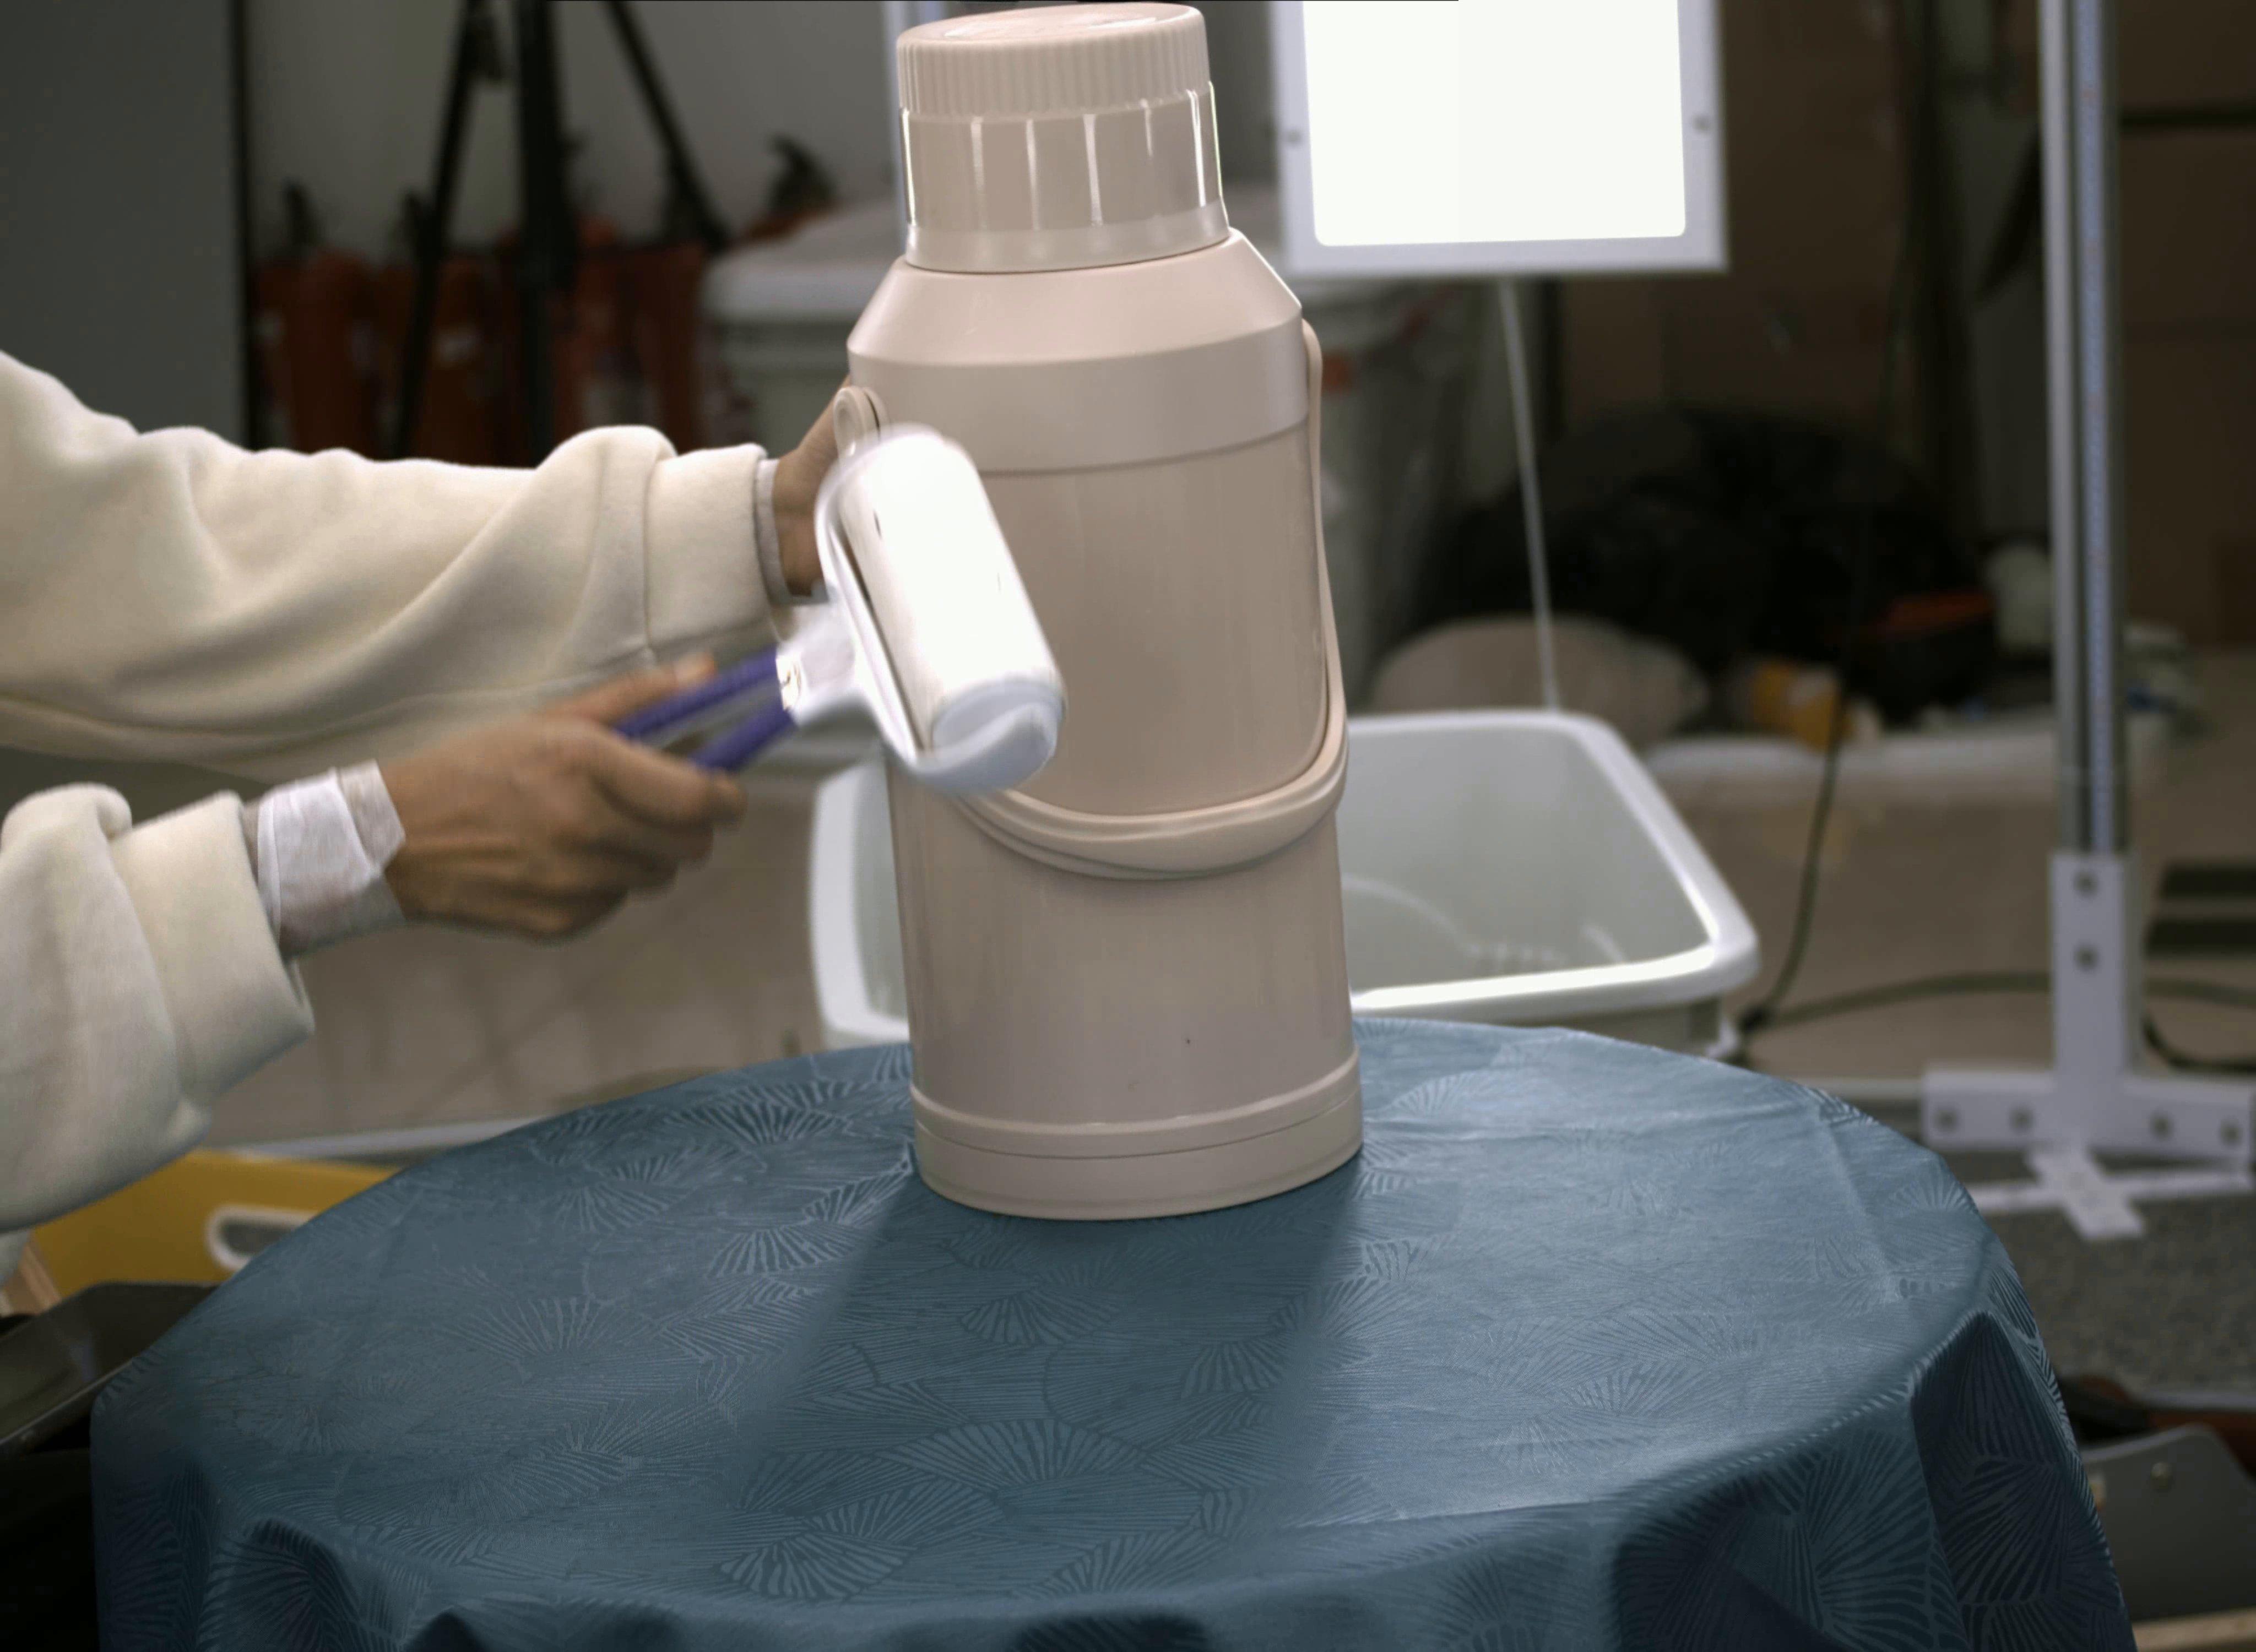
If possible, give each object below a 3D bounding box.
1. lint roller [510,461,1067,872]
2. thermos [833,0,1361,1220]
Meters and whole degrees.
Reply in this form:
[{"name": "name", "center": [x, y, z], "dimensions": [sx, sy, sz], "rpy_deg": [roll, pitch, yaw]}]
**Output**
[{"name": "lint roller", "center": [-0.115, -0.037, 1.722], "dimensions": [0.181, 0.050, 0.133], "rpy_deg": [-20, 53, 5]}, {"name": "thermos", "center": [-0.016, -0.079, 1.907], "dimensions": [0.172, 0.408, 0.210], "rpy_deg": [-11, 15, -23]}]
